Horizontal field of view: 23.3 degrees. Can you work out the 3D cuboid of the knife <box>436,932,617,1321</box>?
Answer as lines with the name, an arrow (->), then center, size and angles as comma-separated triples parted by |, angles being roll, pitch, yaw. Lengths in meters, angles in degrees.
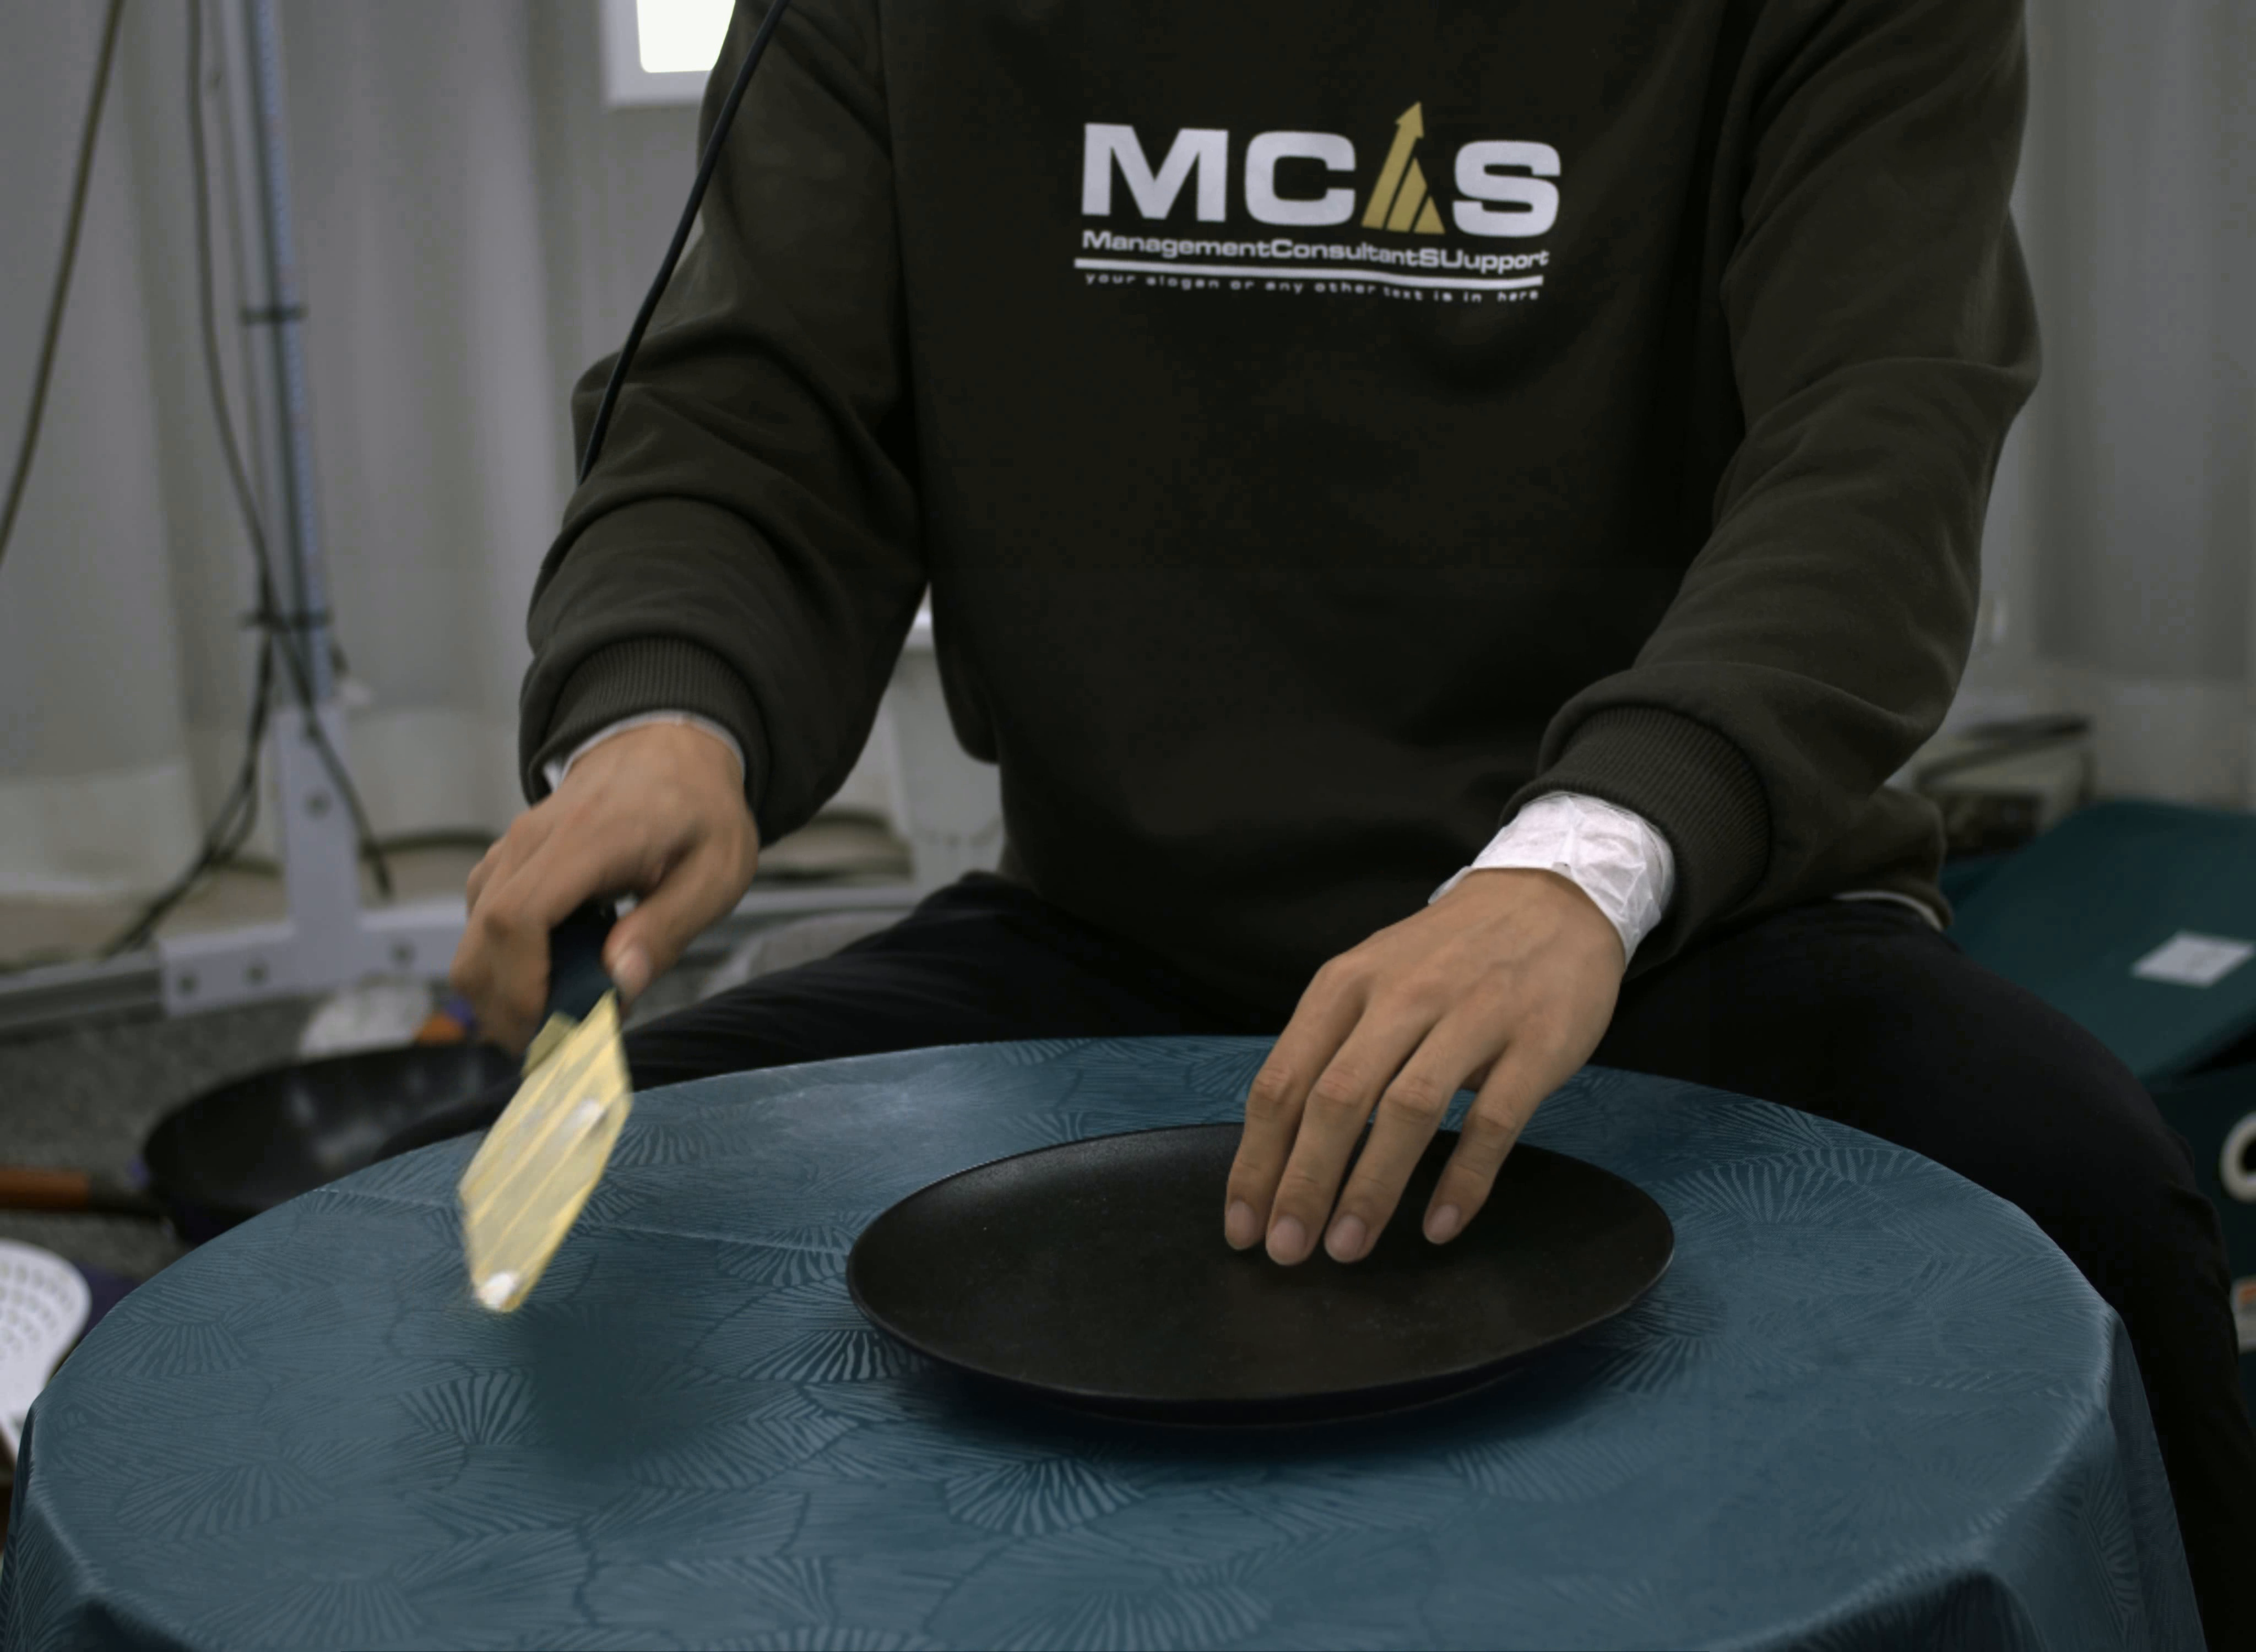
knife -> -0.178, 0.086, 1.630 | 0.081, 0.027, 0.291 | -46, 13, 8

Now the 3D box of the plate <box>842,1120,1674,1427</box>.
plate -> 0.038, 0.133, 1.596 | 0.243, 0.023, 0.246 | -3, 15, 0
